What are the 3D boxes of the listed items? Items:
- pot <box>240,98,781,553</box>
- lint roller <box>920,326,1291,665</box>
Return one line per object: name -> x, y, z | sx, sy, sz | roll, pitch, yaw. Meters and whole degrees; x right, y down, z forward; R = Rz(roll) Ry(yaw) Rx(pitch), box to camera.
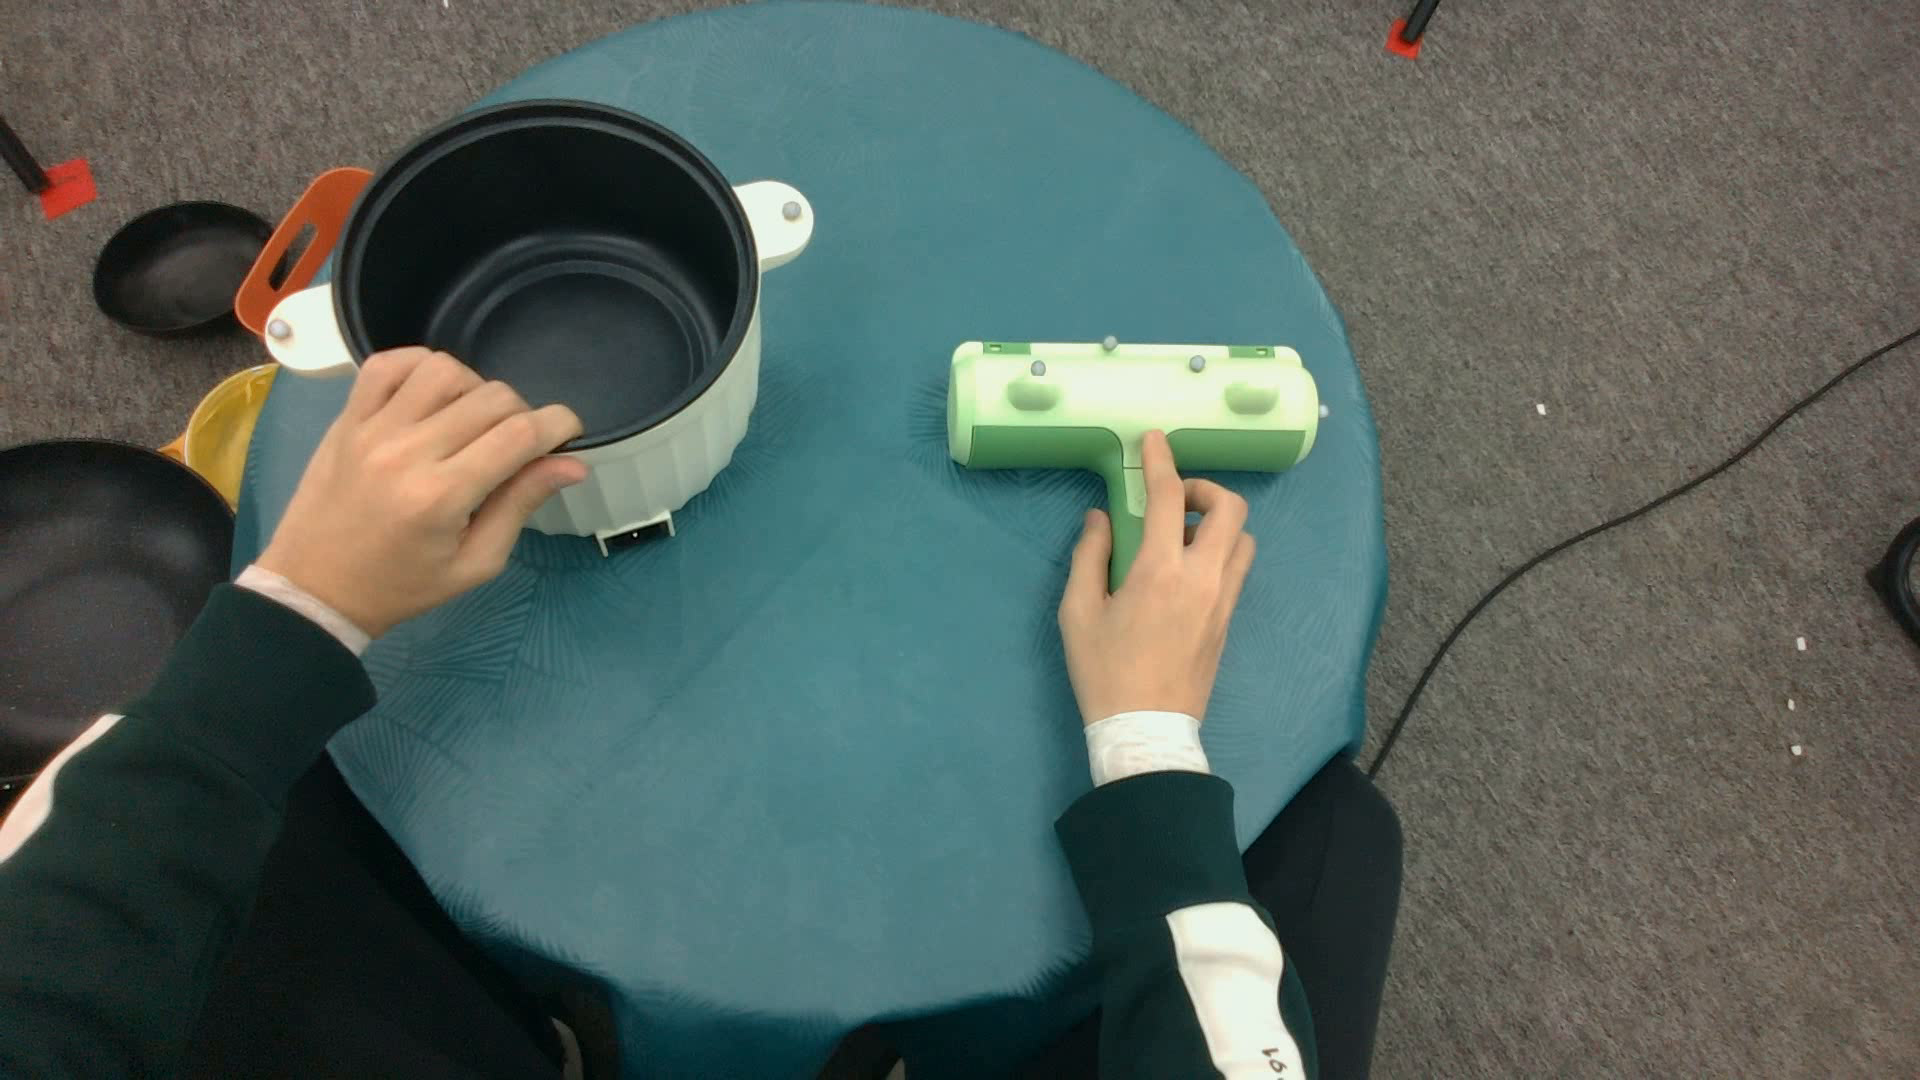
pot -> -0.204, -0.101, 0.667 | 0.241, 0.142, 0.191 | -20, 75, -16
lint roller -> 0.083, -0.033, 0.711 | 0.199, 0.082, 0.184 | -1, 63, -8
